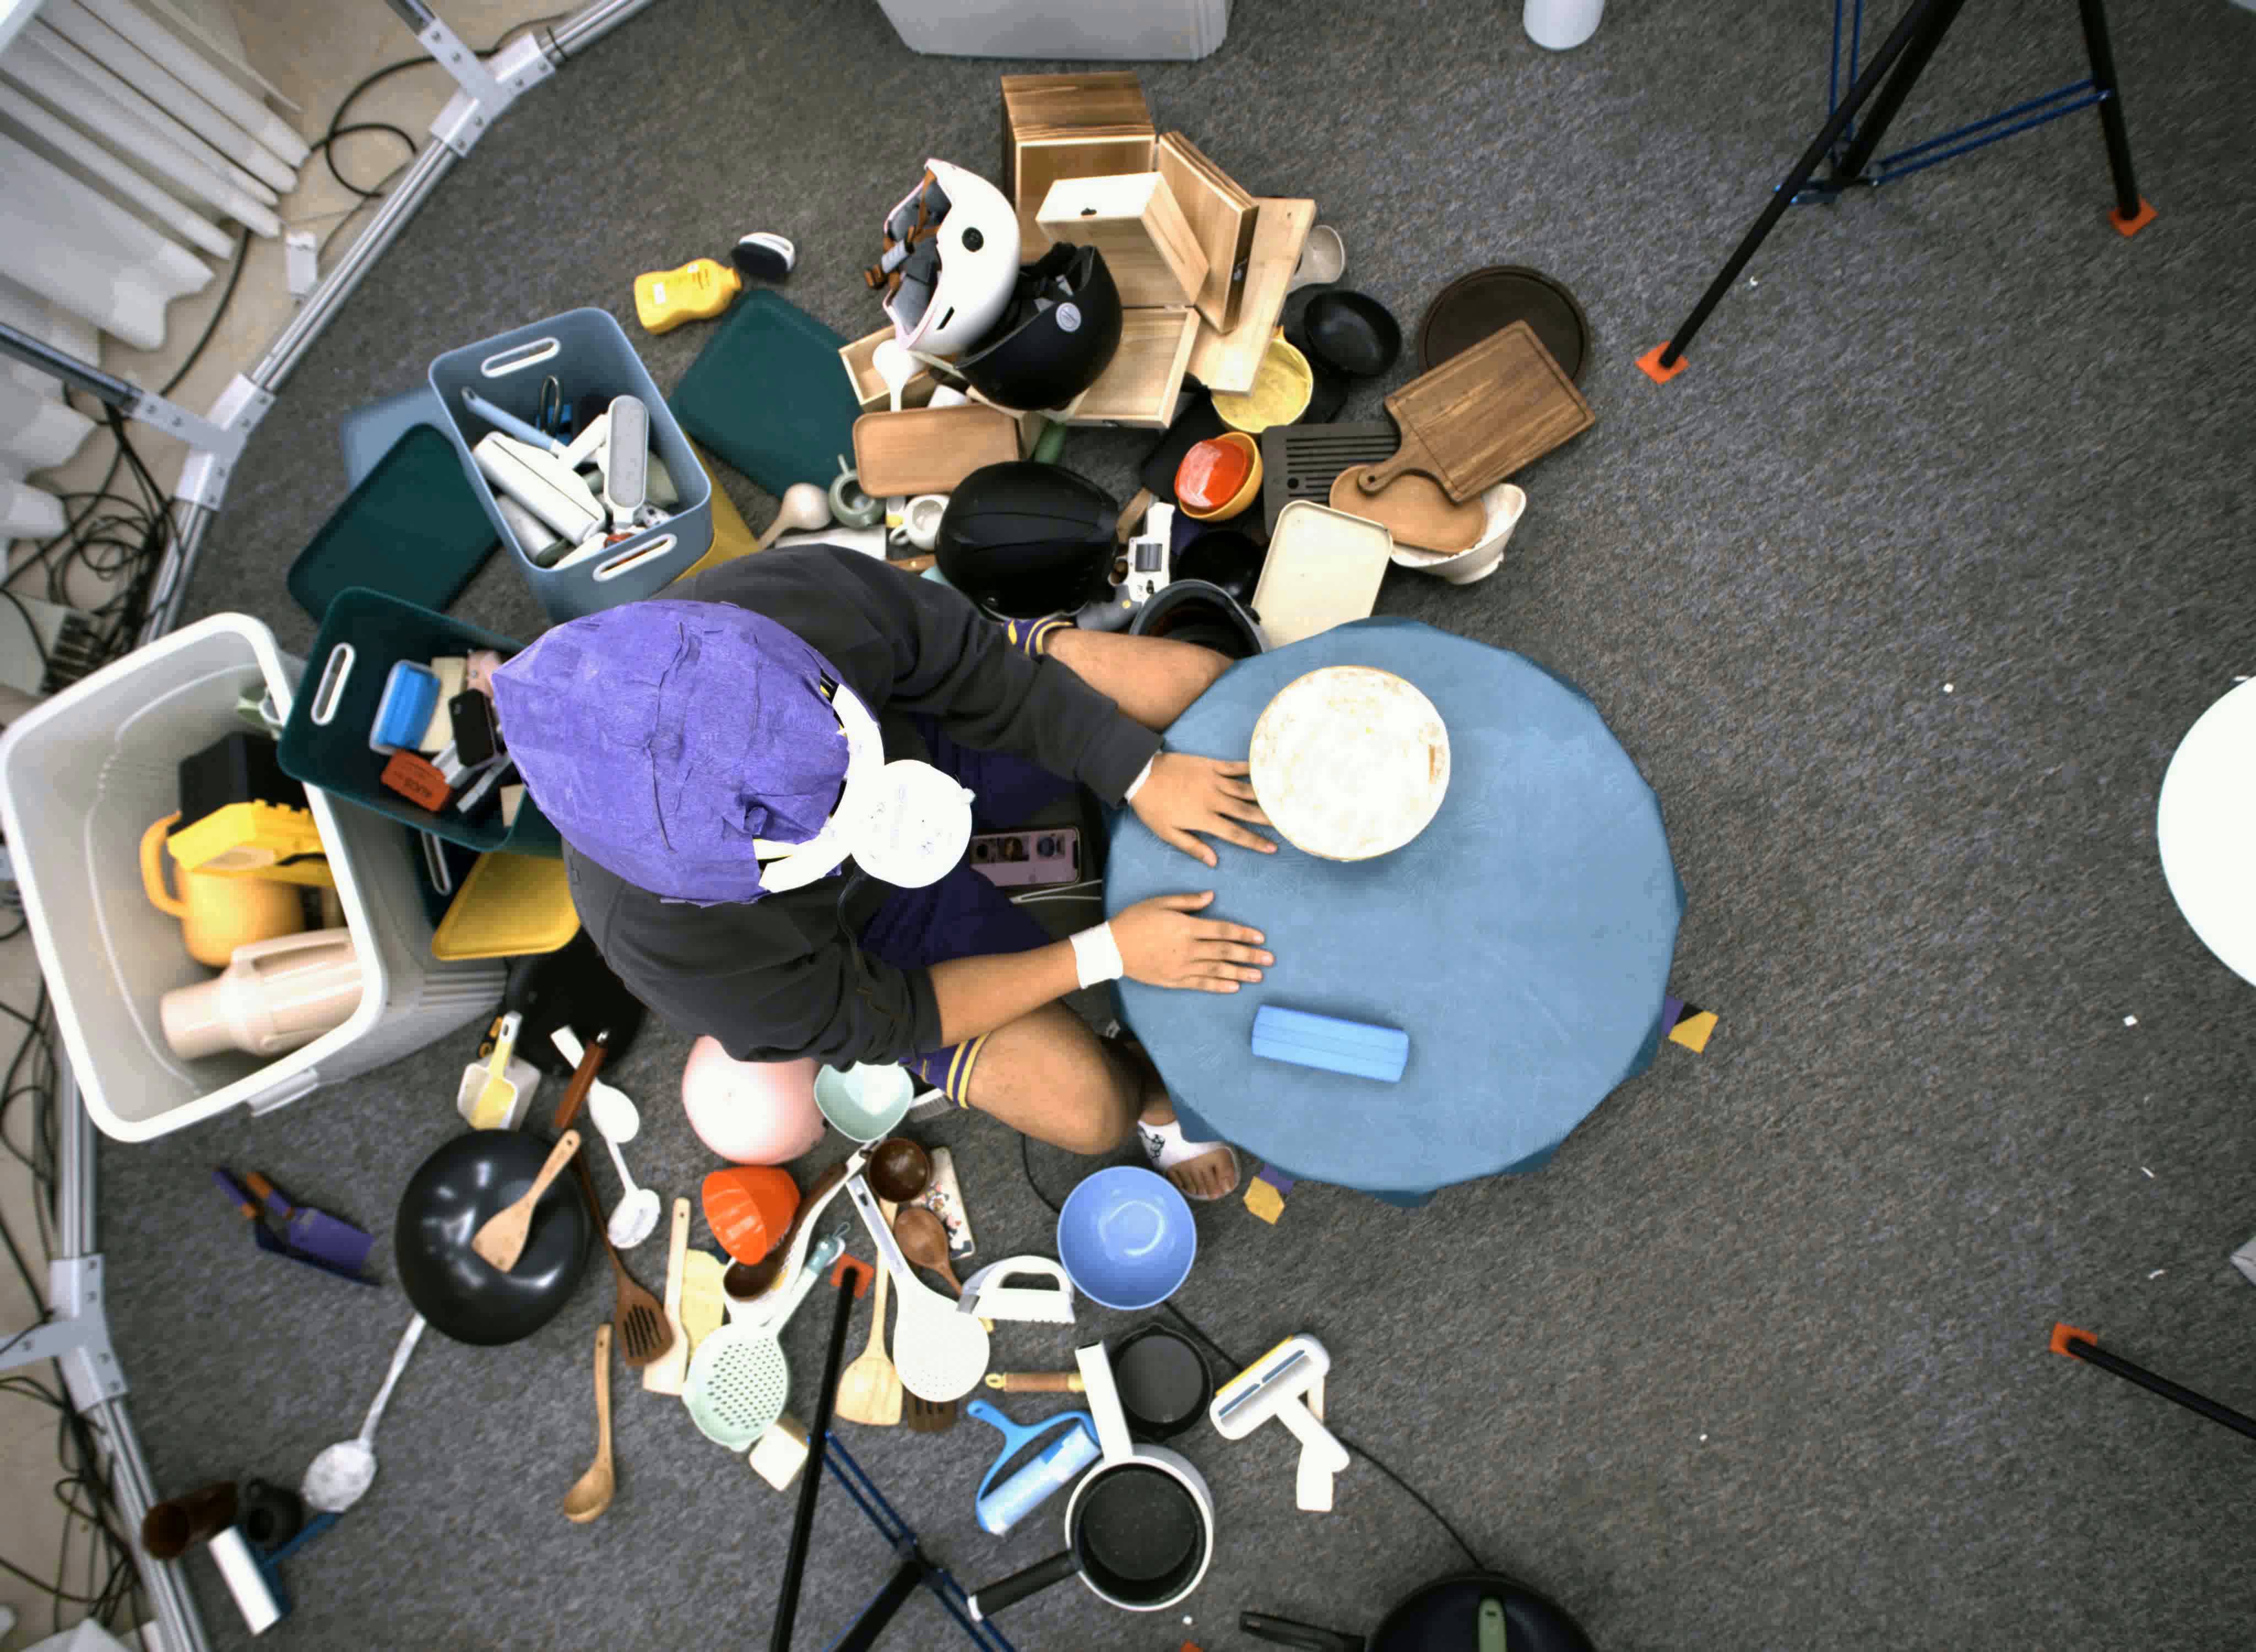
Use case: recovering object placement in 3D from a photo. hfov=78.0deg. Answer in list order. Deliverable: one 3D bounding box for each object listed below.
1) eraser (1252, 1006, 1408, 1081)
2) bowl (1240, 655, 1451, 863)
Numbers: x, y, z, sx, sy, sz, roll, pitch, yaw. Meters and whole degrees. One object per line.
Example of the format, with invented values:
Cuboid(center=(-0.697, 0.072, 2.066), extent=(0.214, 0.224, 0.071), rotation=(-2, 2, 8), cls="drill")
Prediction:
Cuboid(center=(0.209, 0.225, 1.439), extent=(0.162, 0.047, 0.054), rotation=(9, 89, 11), cls="eraser")
Cuboid(center=(0.225, -0.064, 1.428), extent=(0.215, 0.094, 0.214), rotation=(-1, 87, 10), cls="bowl")
